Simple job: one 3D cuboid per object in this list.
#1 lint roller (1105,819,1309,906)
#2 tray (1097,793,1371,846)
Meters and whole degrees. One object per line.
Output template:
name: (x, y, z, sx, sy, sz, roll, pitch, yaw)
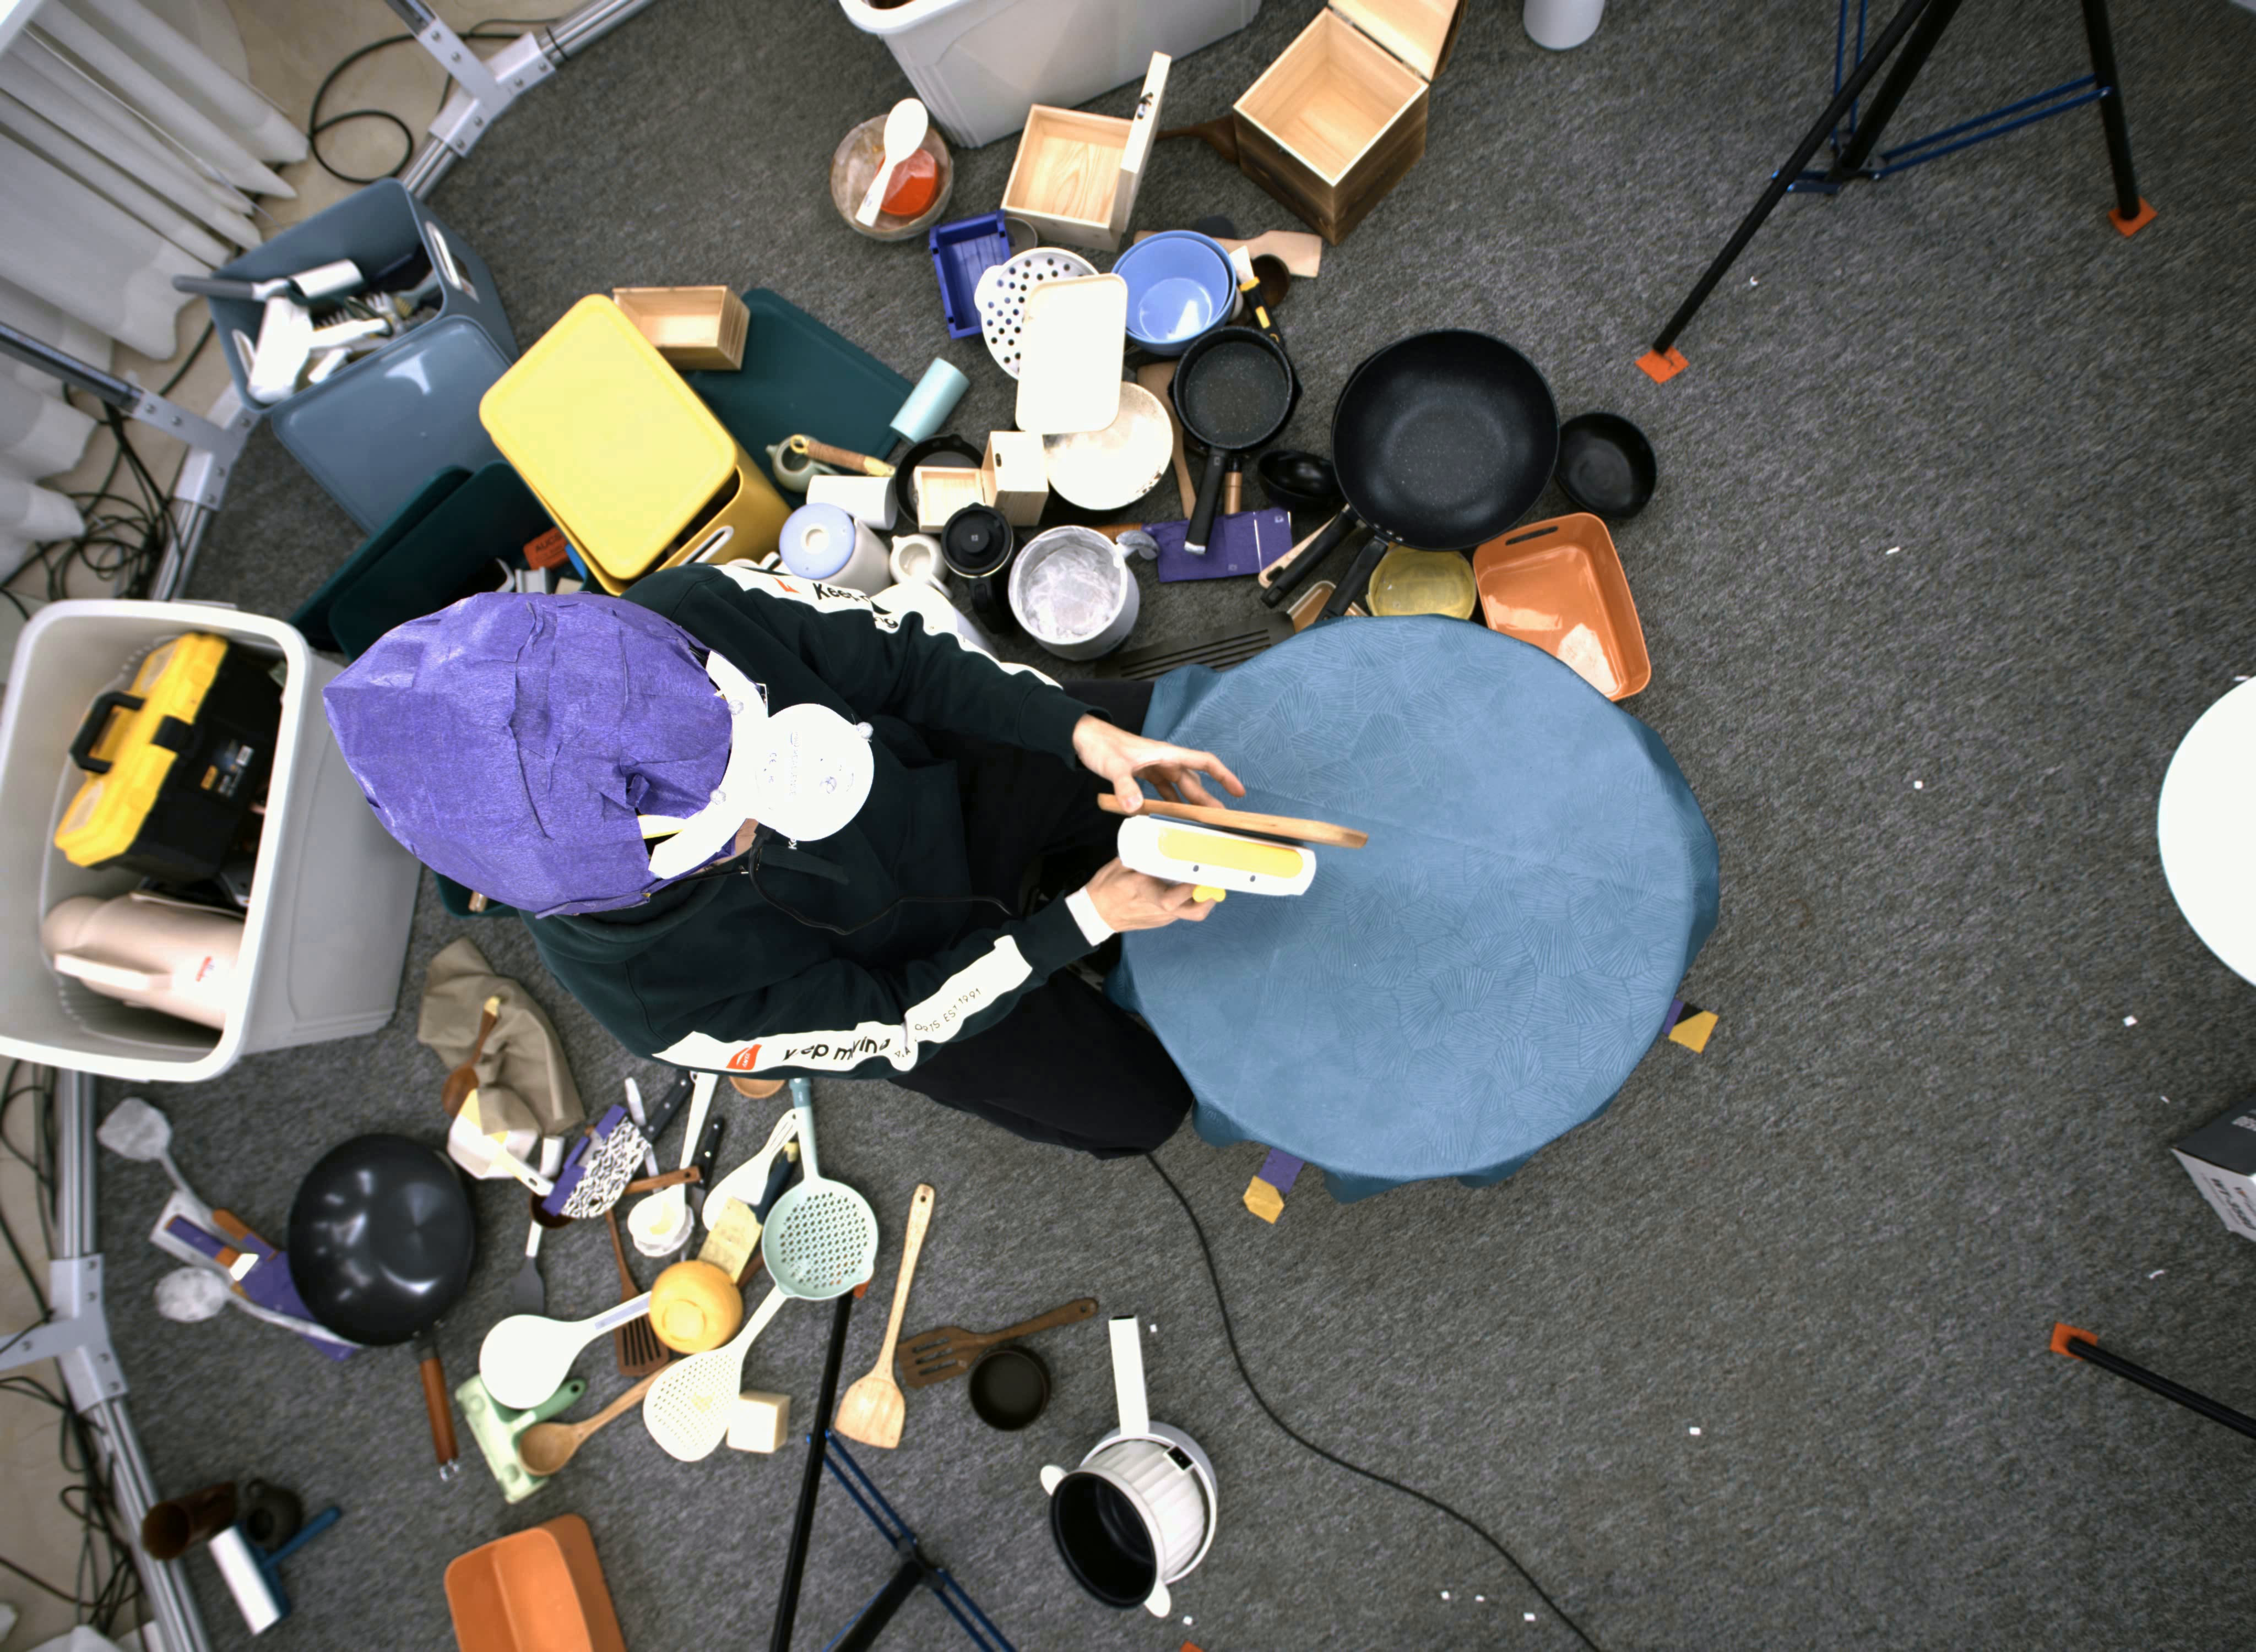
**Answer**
lint roller: (0.058, 0.042, 1.341, 0.192, 0.194, 0.073, 3, 83, -16)
tray: (0.099, -0.006, 1.317, 0.252, 0.130, 0.023, 7, 86, 29)
